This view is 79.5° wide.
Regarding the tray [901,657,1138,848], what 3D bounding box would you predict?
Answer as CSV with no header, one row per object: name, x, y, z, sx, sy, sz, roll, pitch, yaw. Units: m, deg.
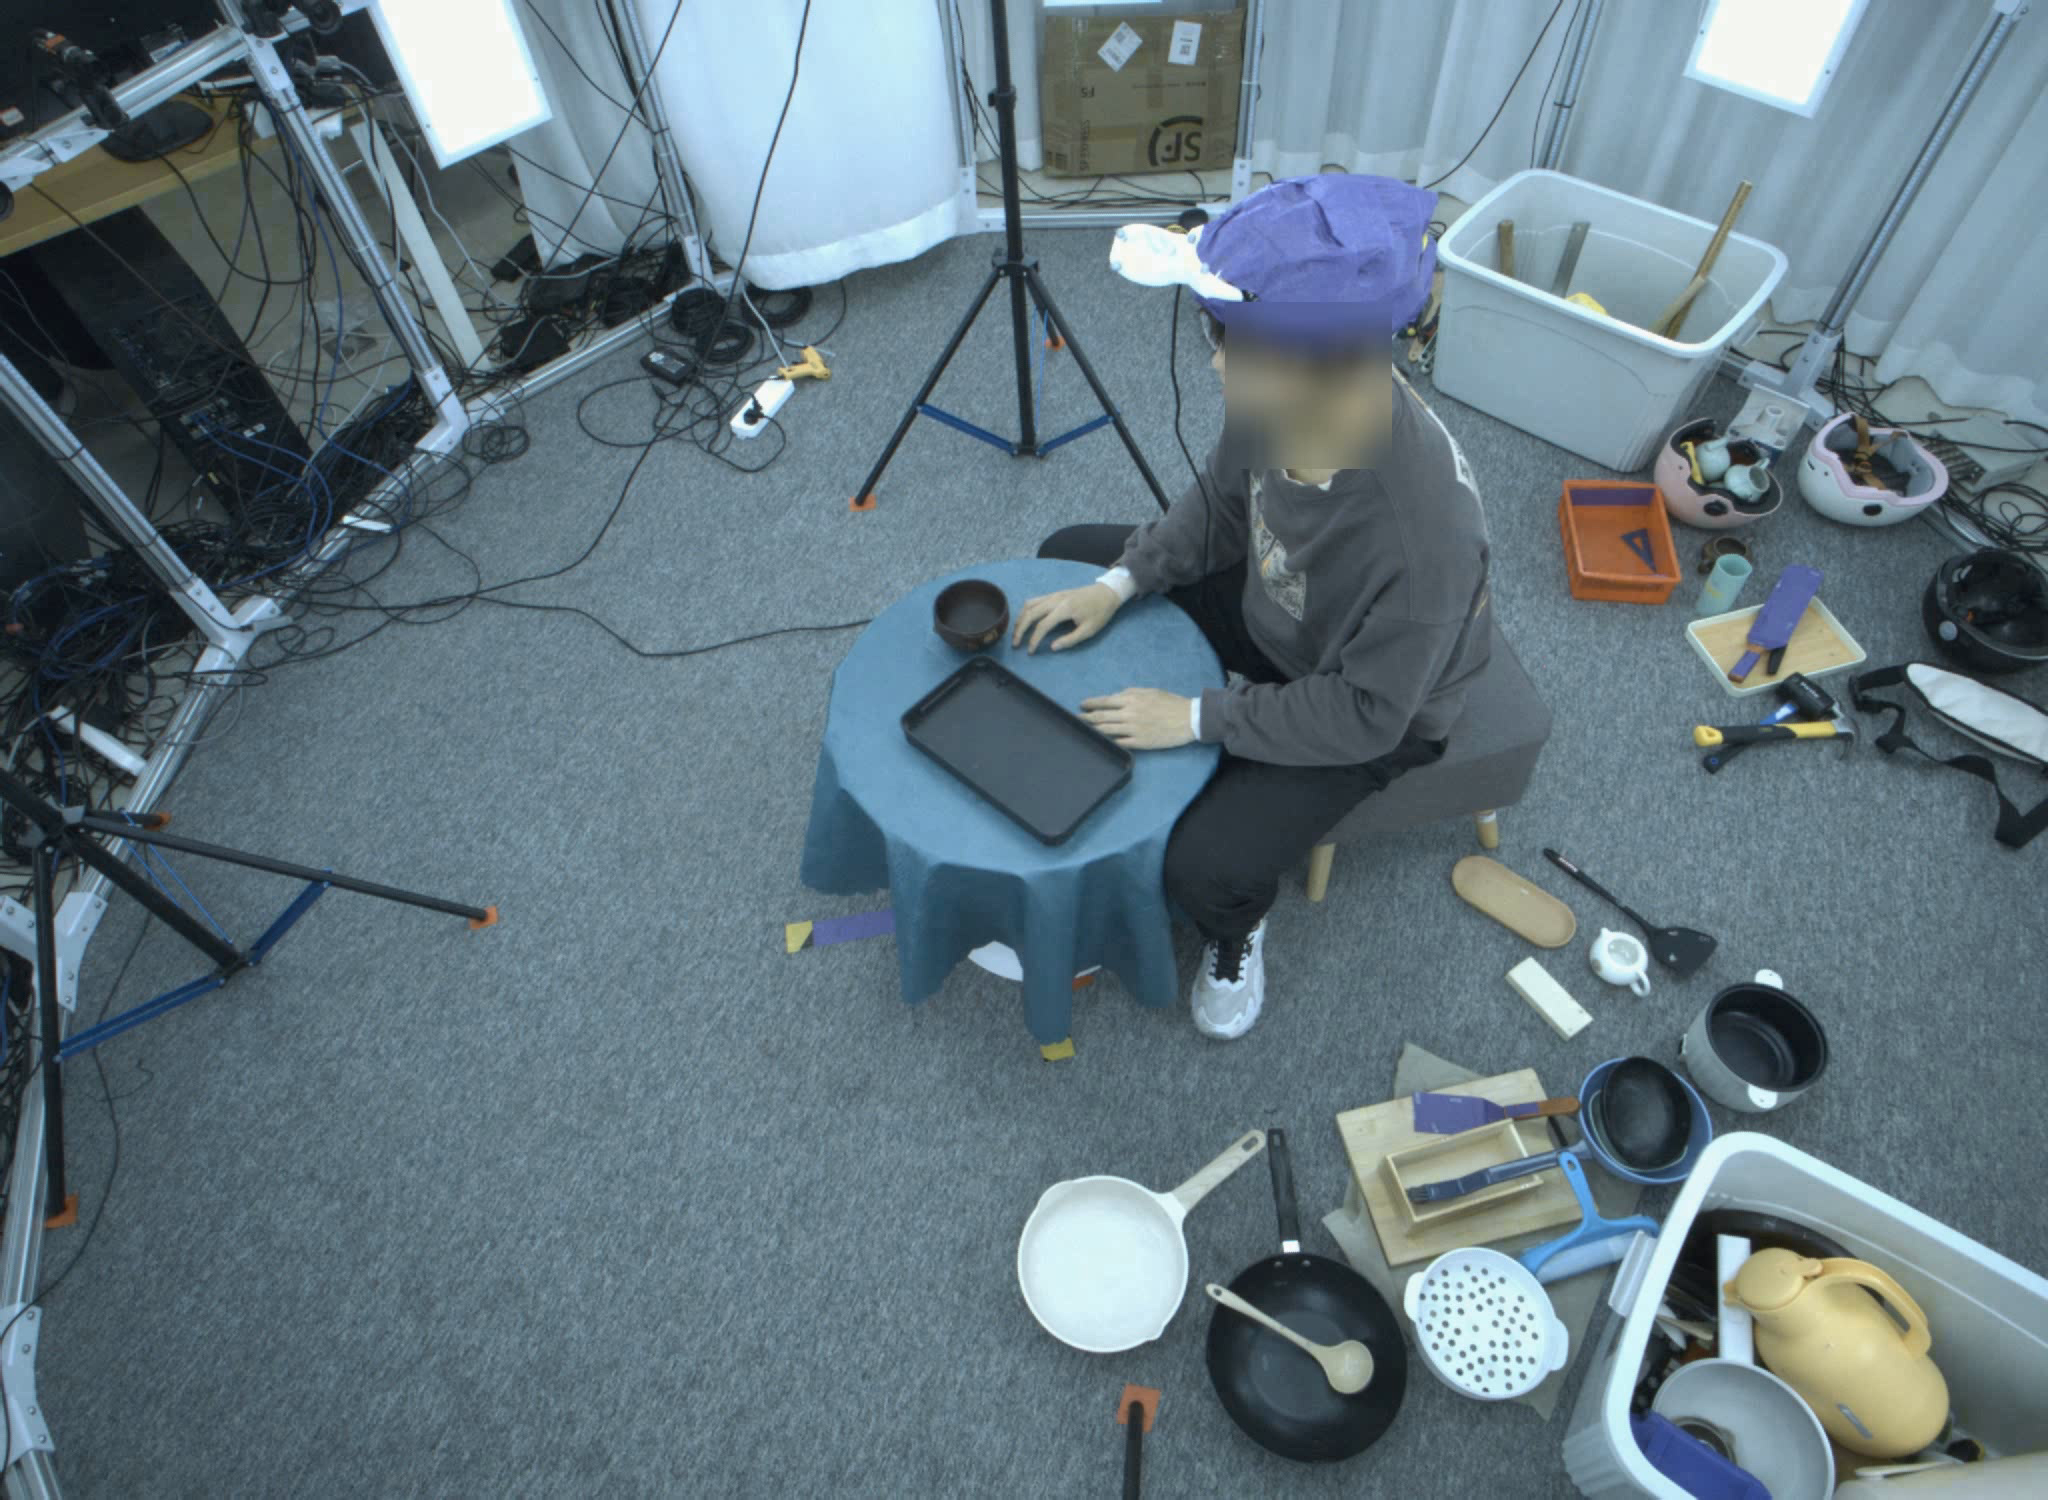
tray,-0.008,-0.002,1.765,0.312,0.037,0.185,34,61,24

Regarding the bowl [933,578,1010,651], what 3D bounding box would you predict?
bowl,-0.080,-0.200,1.887,0.118,0.070,0.117,0,54,1
